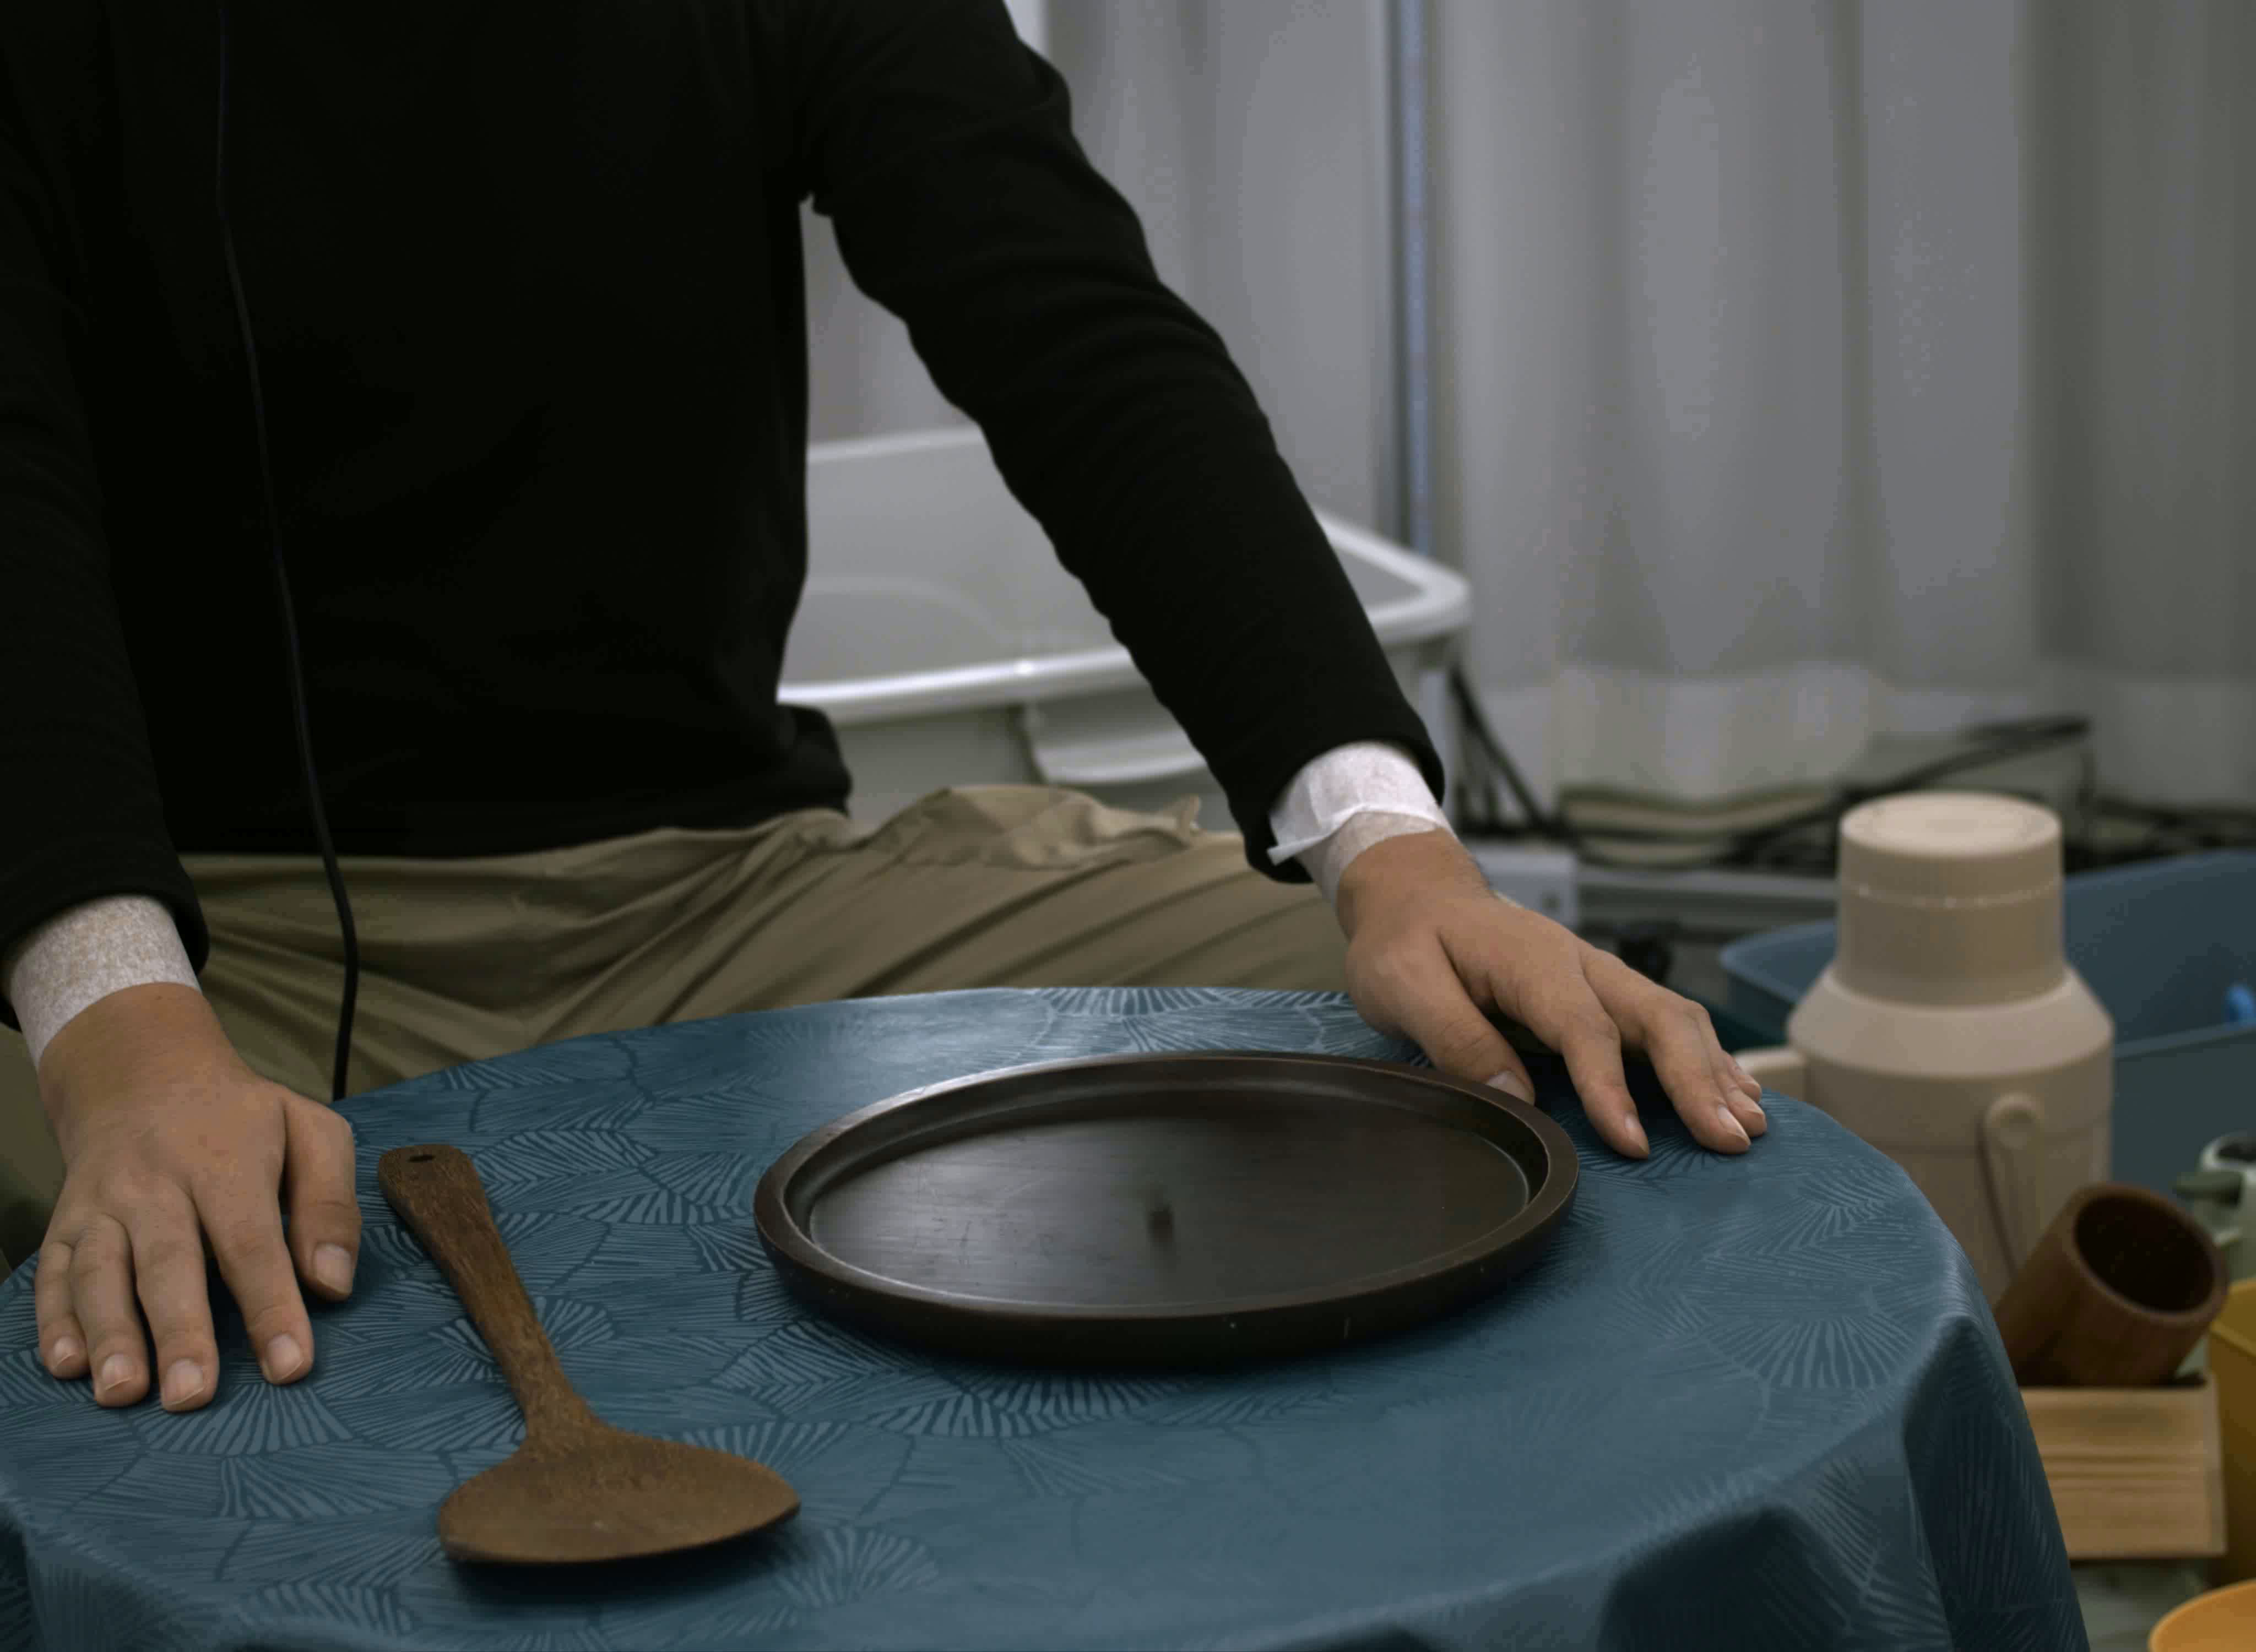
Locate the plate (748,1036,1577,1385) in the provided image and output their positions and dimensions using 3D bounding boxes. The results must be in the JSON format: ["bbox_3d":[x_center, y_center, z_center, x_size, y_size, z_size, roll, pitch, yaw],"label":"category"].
[{"bbox_3d":[0.011,0.116,1.665,0.254,0.029,0.256,-3,16,1],"label":"plate"}]

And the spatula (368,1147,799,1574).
[{"bbox_3d":[-0.180,0.148,1.594,0.095,0.016,0.389,-7,15,-15],"label":"spatula"}]
